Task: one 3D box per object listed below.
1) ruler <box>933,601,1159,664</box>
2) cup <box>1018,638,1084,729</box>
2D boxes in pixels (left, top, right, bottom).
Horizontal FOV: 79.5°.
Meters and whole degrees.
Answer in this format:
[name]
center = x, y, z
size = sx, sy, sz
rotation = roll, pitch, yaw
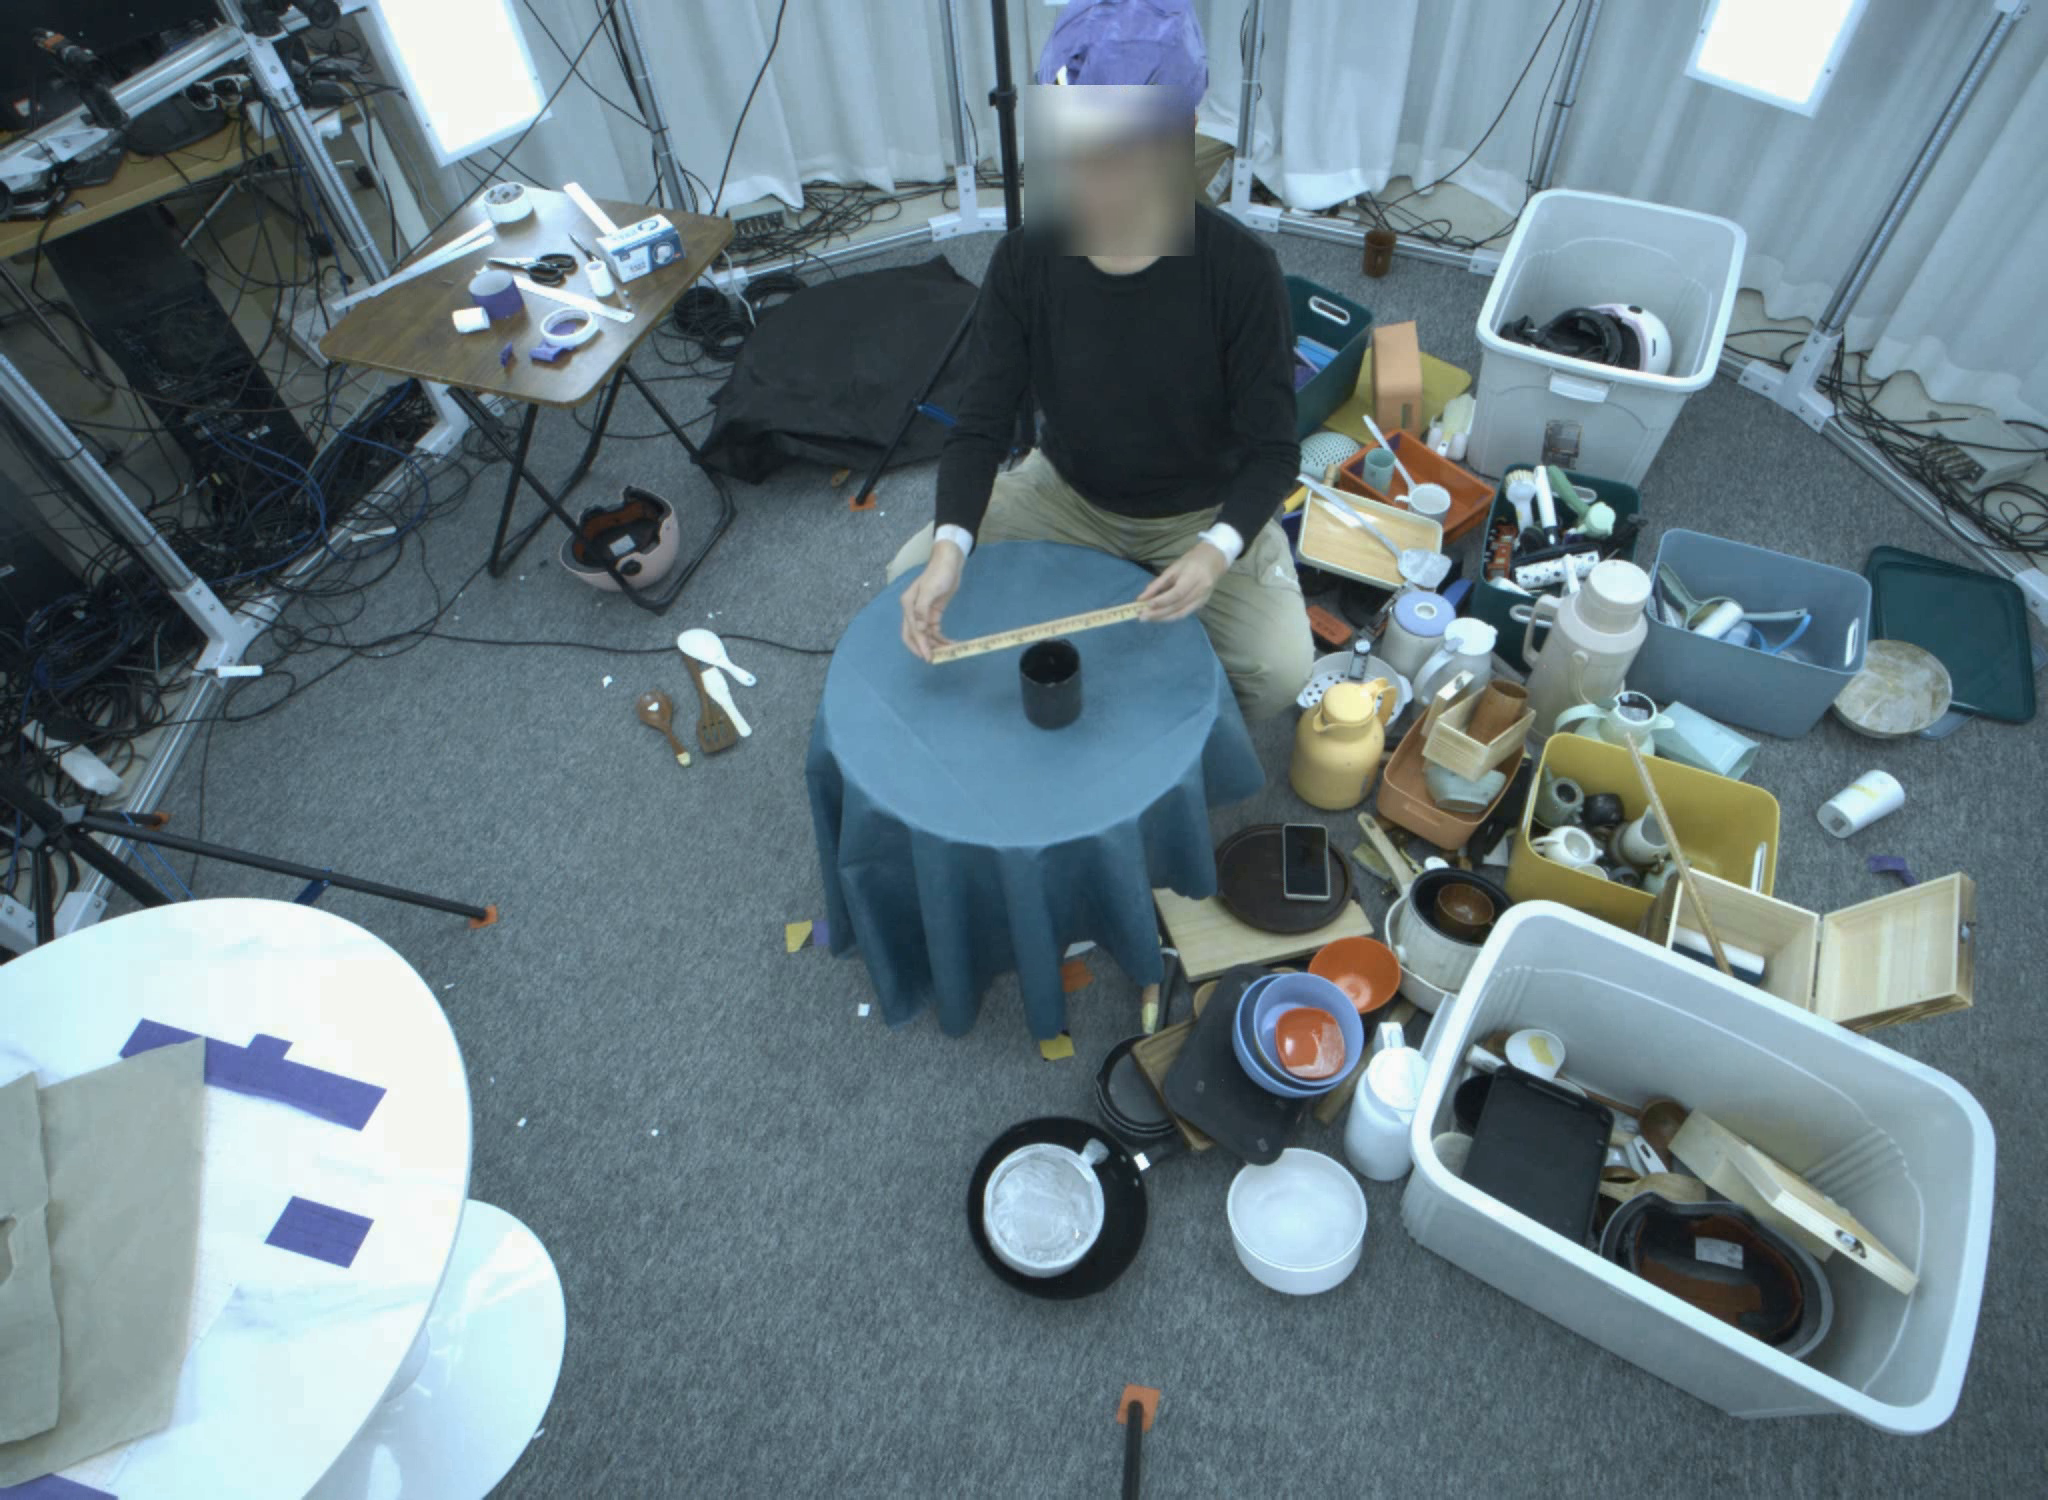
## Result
[ruler]
center = 0.029, -0.171, 1.773
size = 0.331, 0.022, 0.027
rotation = -11, 72, 5
[cup]
center = 0.046, -0.109, 1.799
size = 0.088, 0.106, 0.123
rotation = 14, 58, 15
